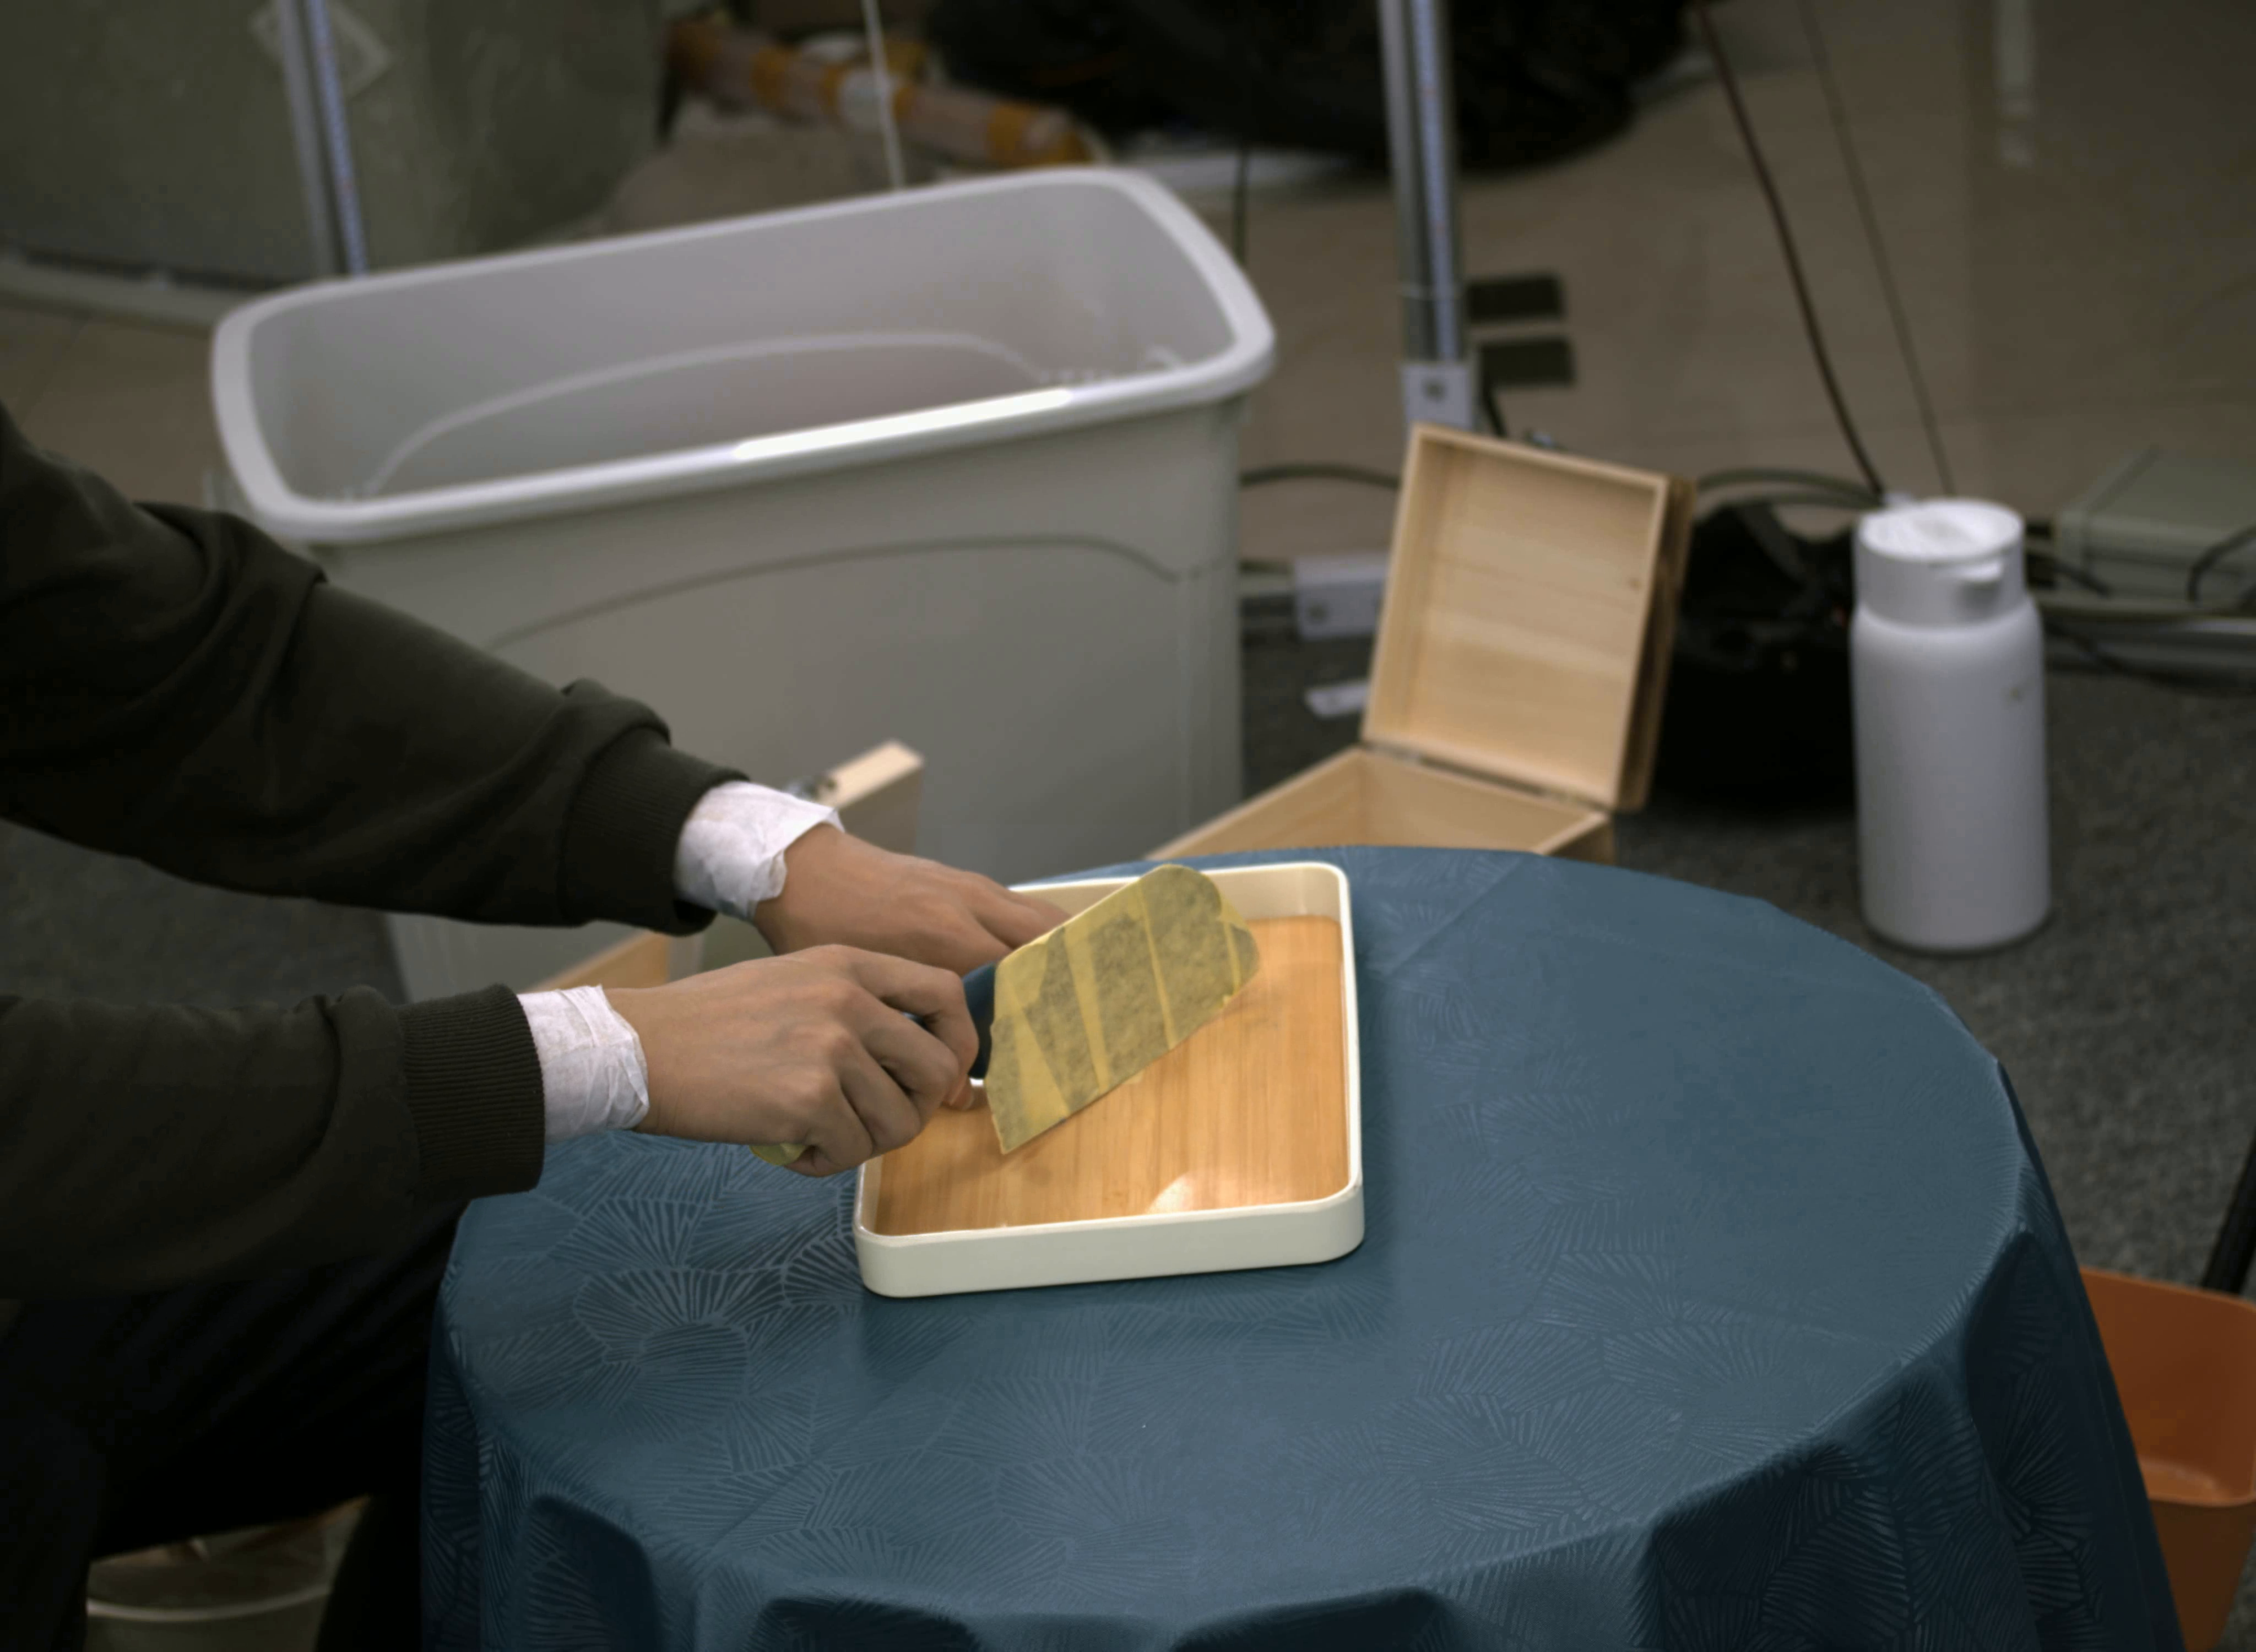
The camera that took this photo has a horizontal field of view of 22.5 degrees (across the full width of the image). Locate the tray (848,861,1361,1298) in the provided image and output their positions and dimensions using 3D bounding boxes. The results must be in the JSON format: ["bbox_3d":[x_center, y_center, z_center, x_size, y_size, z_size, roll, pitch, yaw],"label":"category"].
[{"bbox_3d":[-0.006,0.095,2.216,0.191,0.028,0.296,-6,24,4],"label":"tray"}]

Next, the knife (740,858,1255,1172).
[{"bbox_3d":[-0.042,0.082,2.172,0.027,0.082,0.287,2,20,43],"label":"knife"}]
